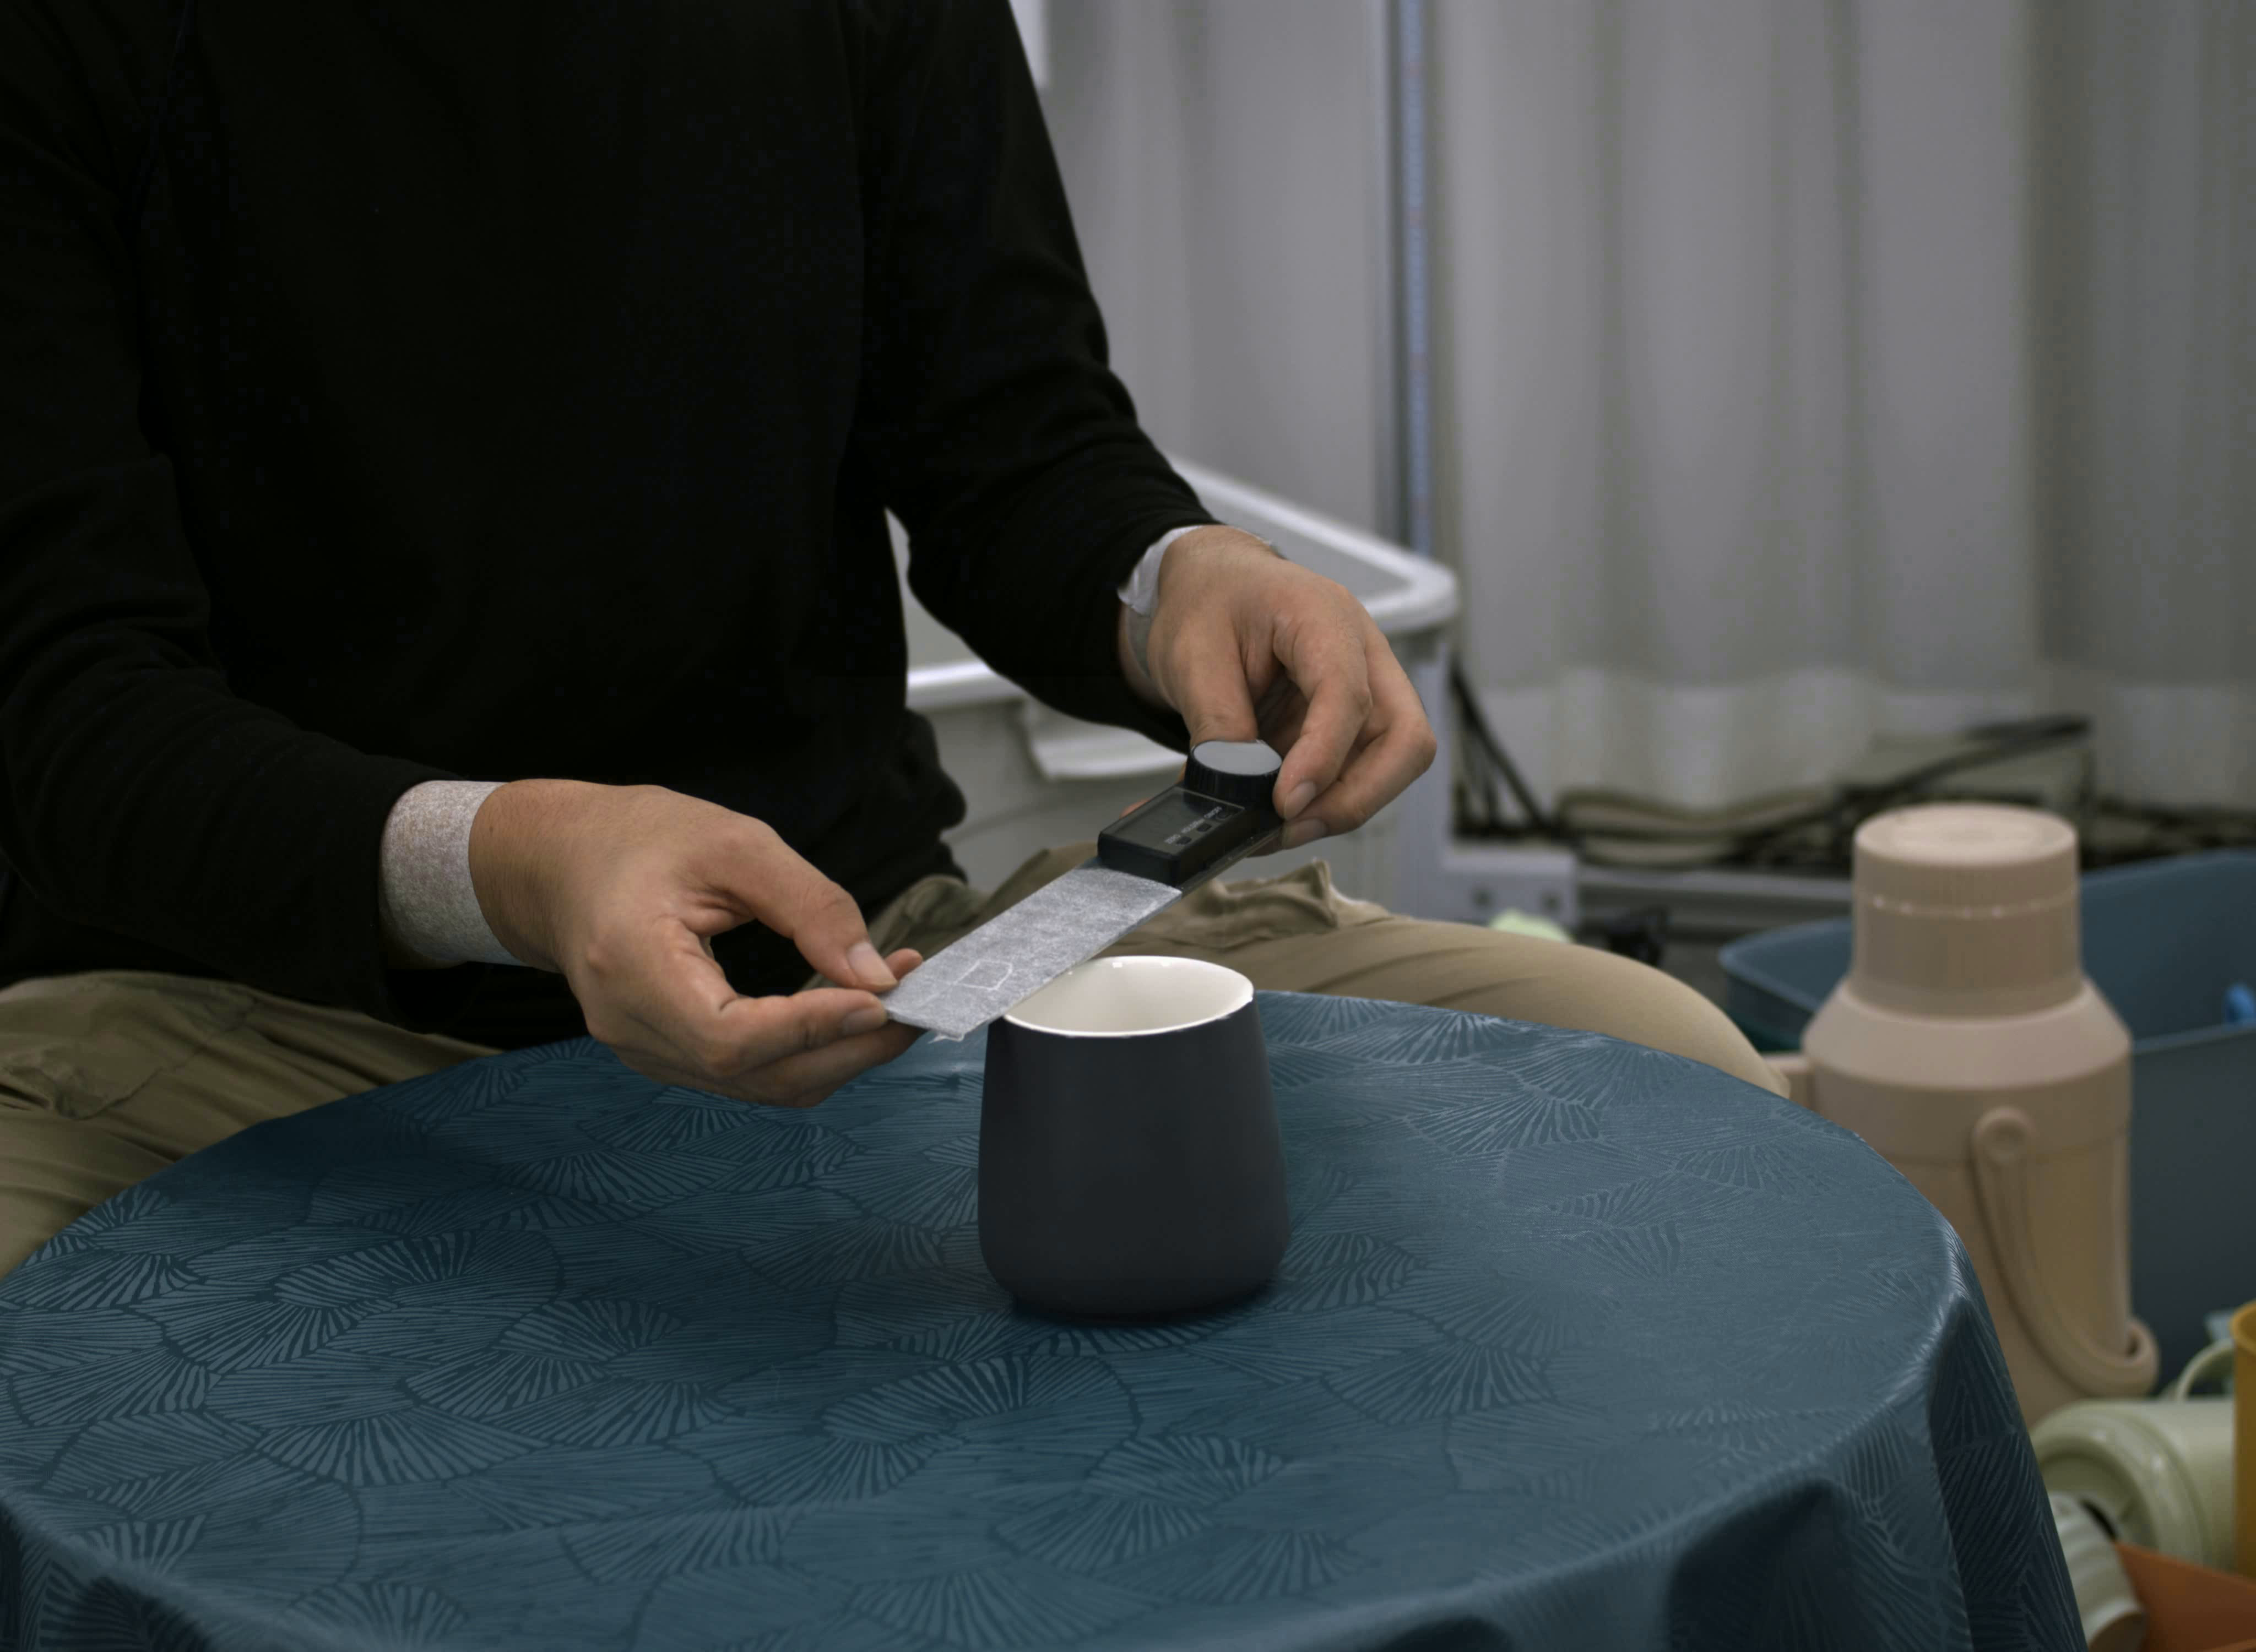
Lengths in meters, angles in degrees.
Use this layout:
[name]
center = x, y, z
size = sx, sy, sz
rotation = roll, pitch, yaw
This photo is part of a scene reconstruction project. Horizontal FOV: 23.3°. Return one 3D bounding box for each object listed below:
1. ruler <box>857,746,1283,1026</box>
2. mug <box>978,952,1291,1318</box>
[ruler]
center = -0.012, 0.015, 1.668
size = 0.038, 0.024, 0.218
rotation = 11, 21, 27
[mug]
center = -0.004, 0.088, 1.635
size = 0.093, 0.089, 0.124
rotation = -7, 16, -18
